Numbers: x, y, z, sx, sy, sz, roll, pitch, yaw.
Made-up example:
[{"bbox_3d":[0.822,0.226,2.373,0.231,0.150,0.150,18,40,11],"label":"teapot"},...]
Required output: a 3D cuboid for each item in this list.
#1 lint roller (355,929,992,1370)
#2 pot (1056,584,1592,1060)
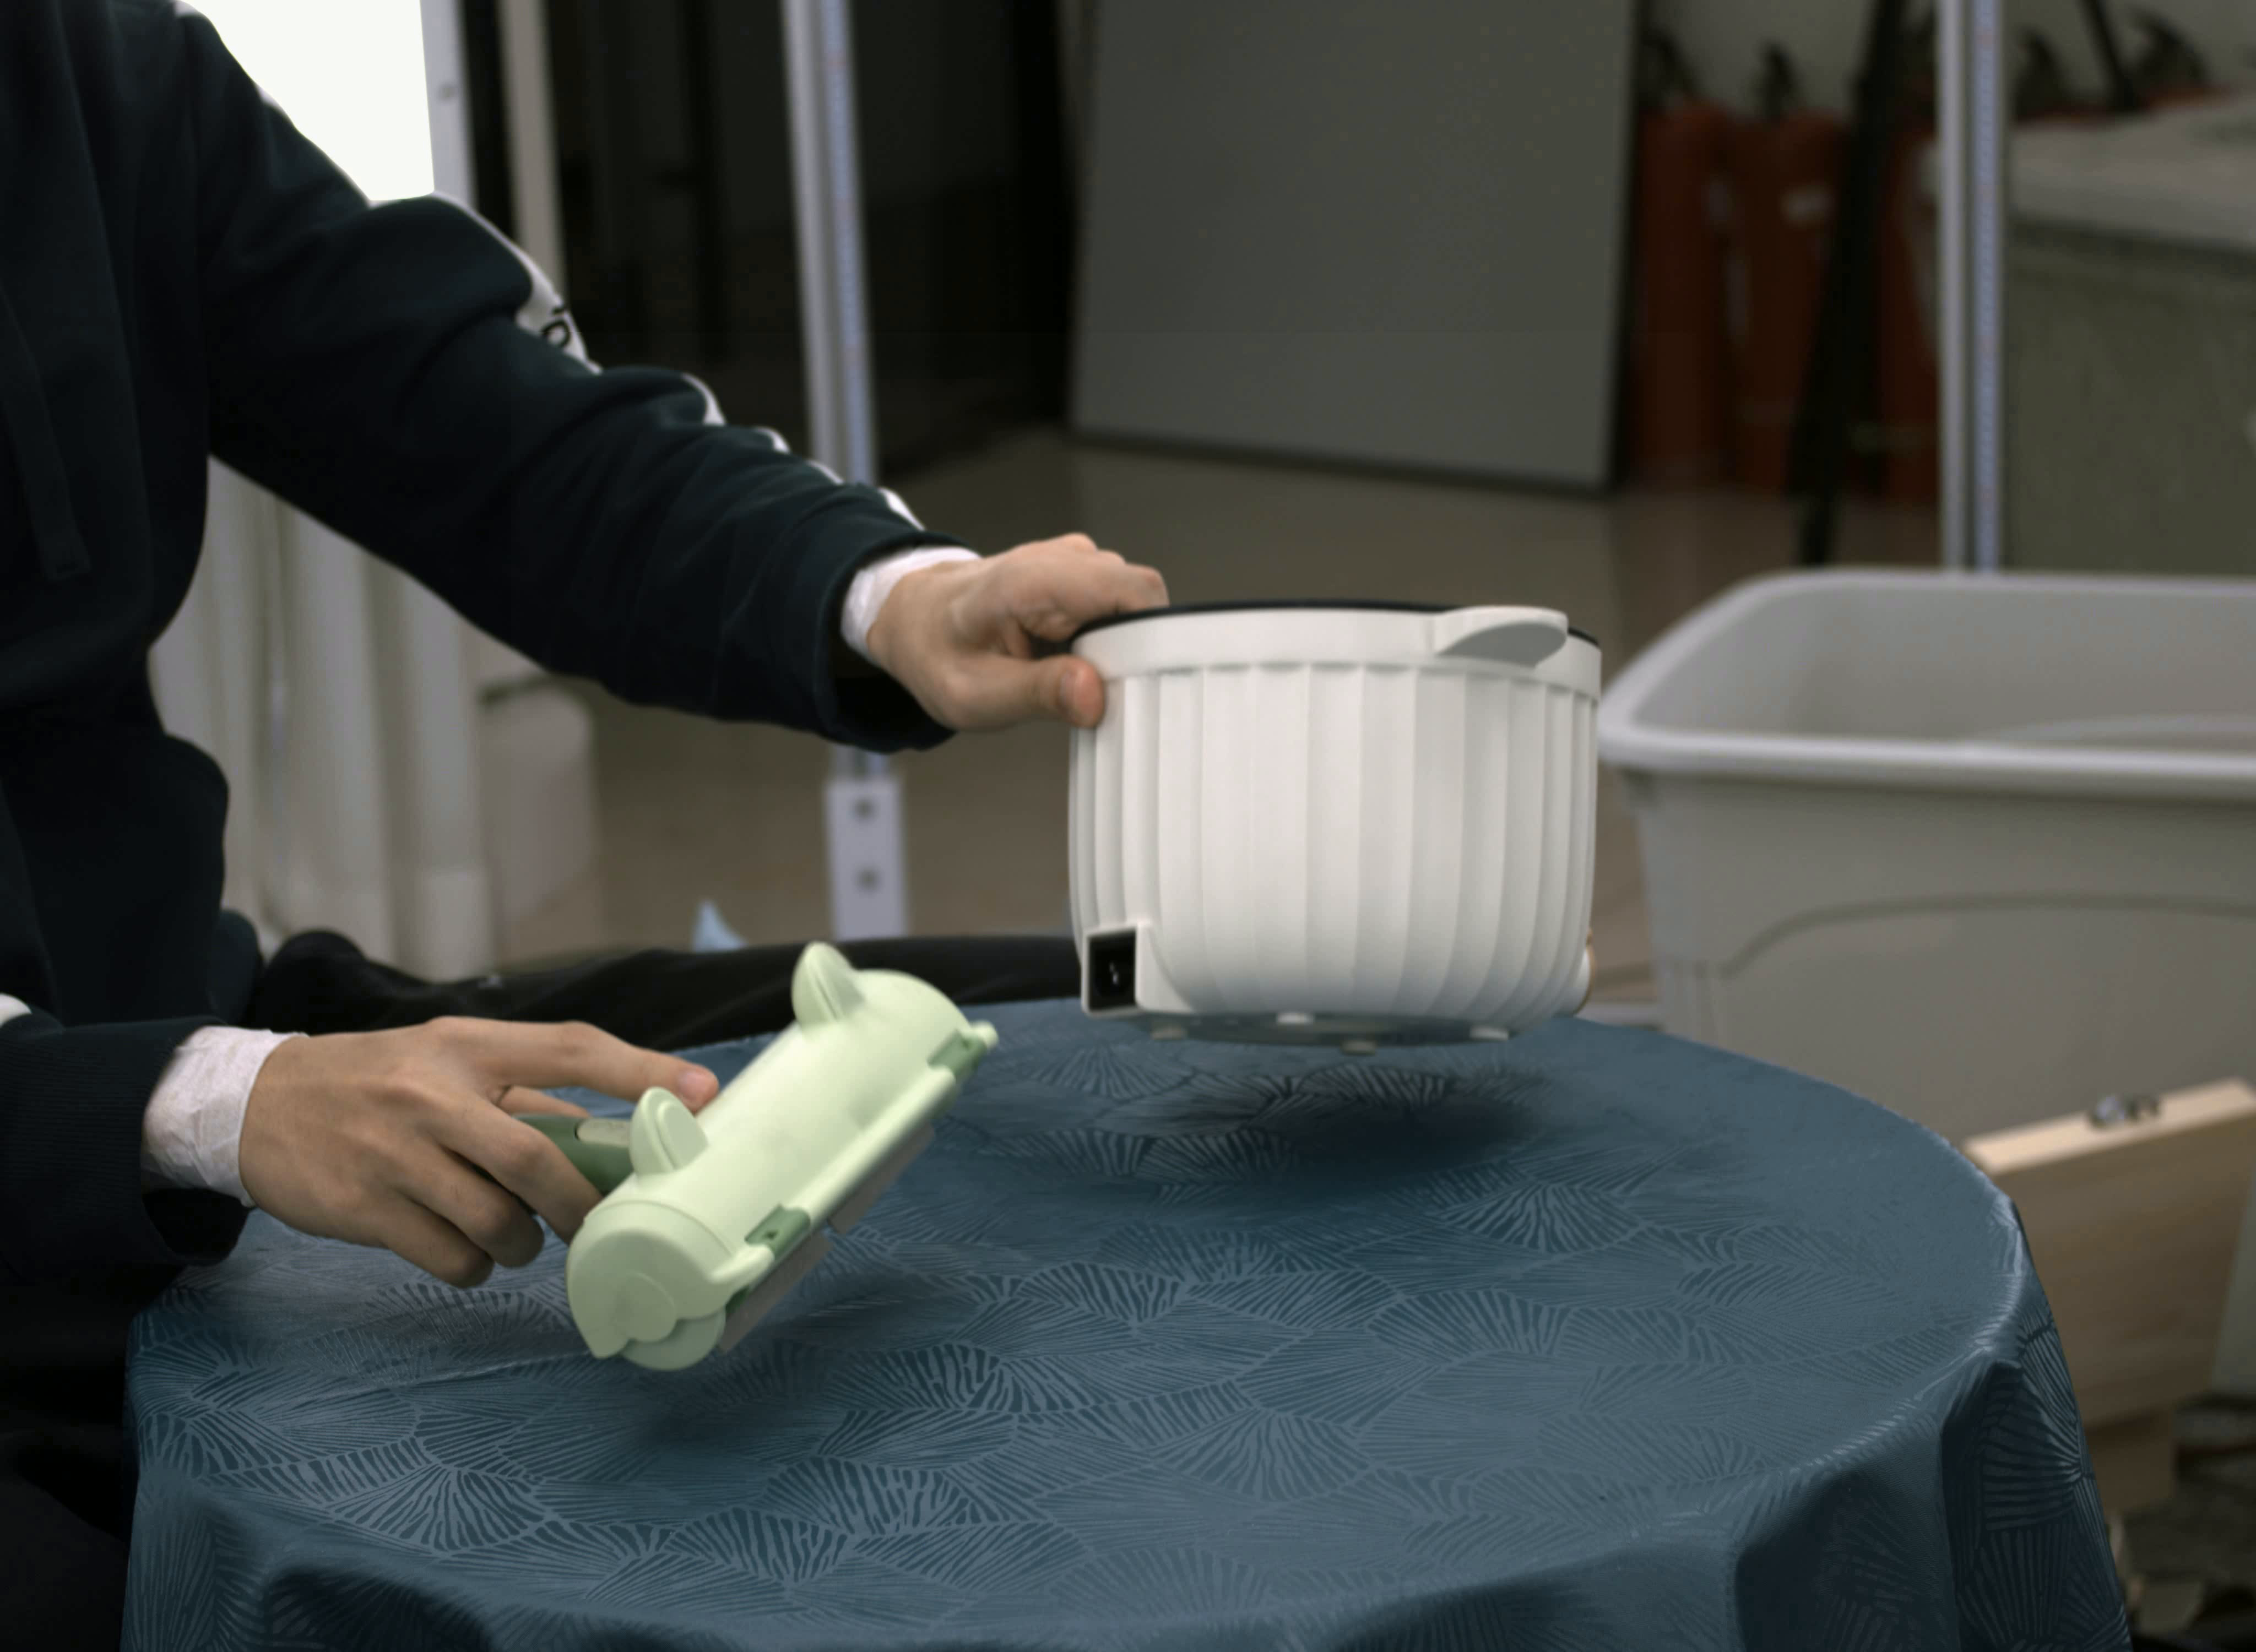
[{"bbox_3d":[-0.158,0.088,1.649,0.183,0.083,0.197,6,23,21],"label":"lint roller"},{"bbox_3d":[0.071,0.003,1.815,0.186,0.144,0.243,3,-8,-31],"label":"pot"}]
